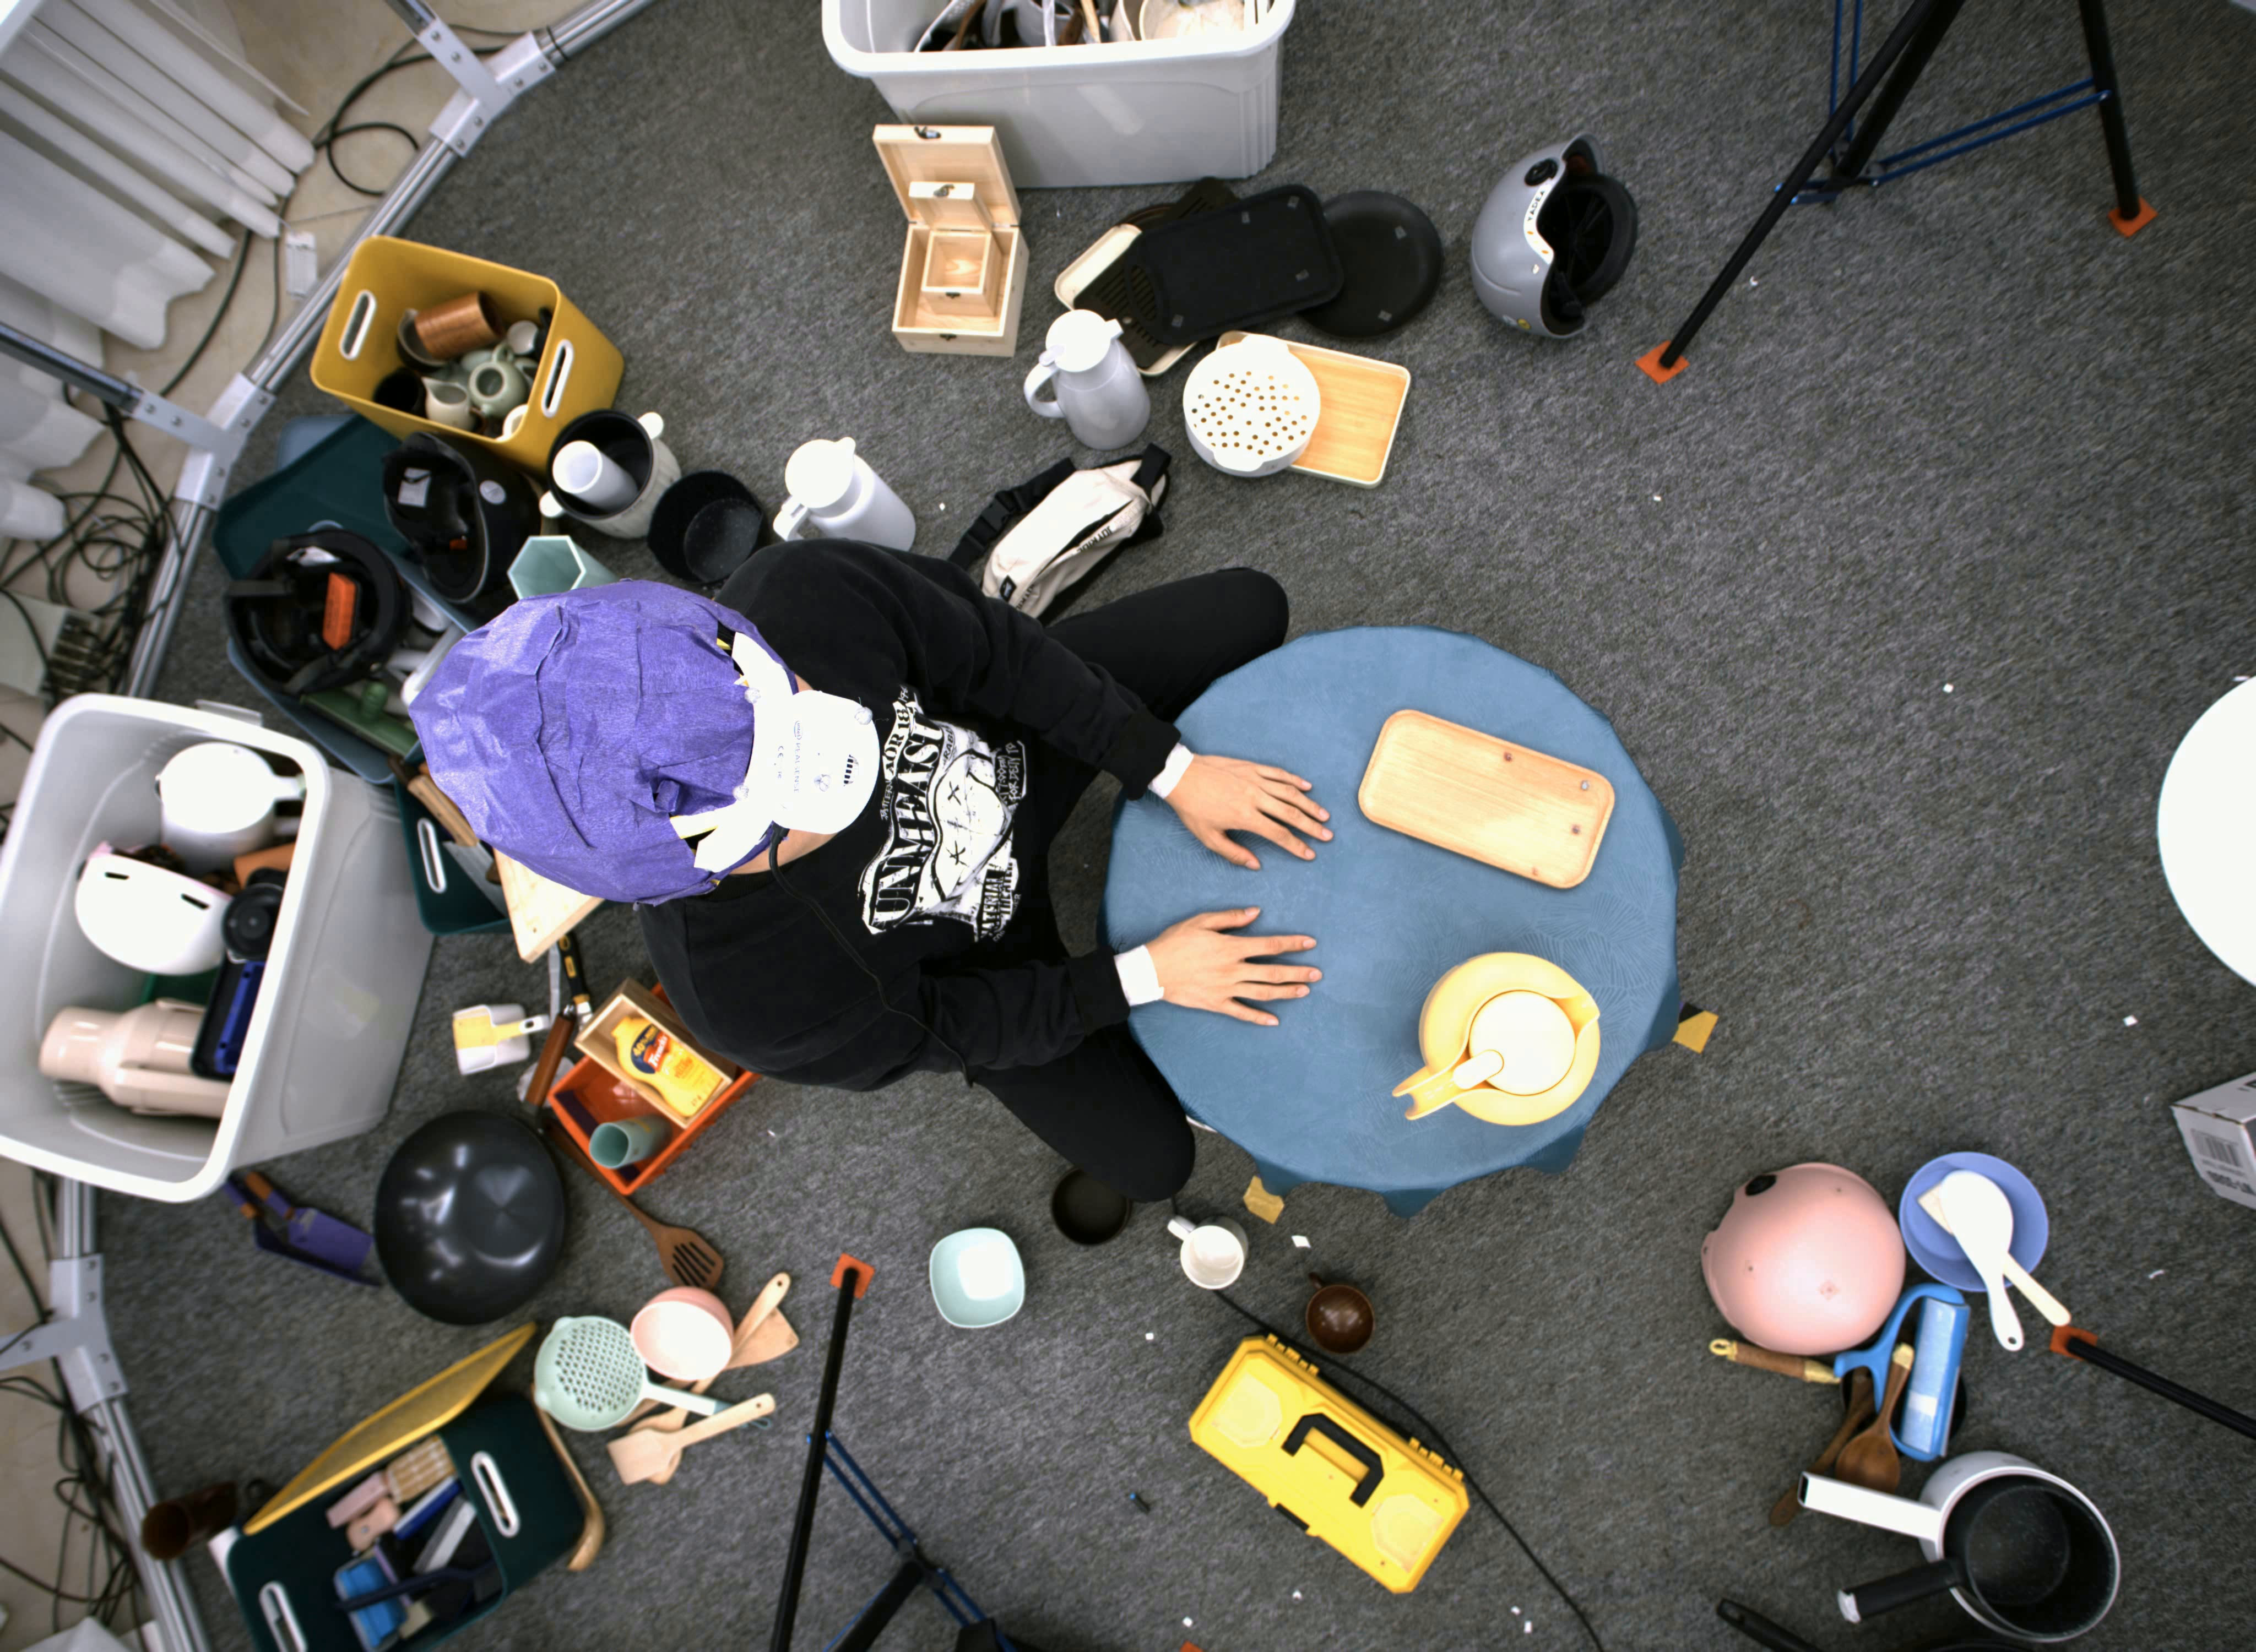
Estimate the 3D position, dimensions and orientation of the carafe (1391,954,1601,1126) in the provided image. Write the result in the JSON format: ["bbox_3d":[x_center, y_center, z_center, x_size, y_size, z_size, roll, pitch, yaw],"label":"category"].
[{"bbox_3d":[0.342,0.208,1.308,0.203,0.261,0.162,-29,79,5],"label":"carafe"}]

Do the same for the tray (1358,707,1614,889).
[{"bbox_3d":[0.373,-0.032,1.438,0.250,0.023,0.130,21,89,12],"label":"tray"}]
